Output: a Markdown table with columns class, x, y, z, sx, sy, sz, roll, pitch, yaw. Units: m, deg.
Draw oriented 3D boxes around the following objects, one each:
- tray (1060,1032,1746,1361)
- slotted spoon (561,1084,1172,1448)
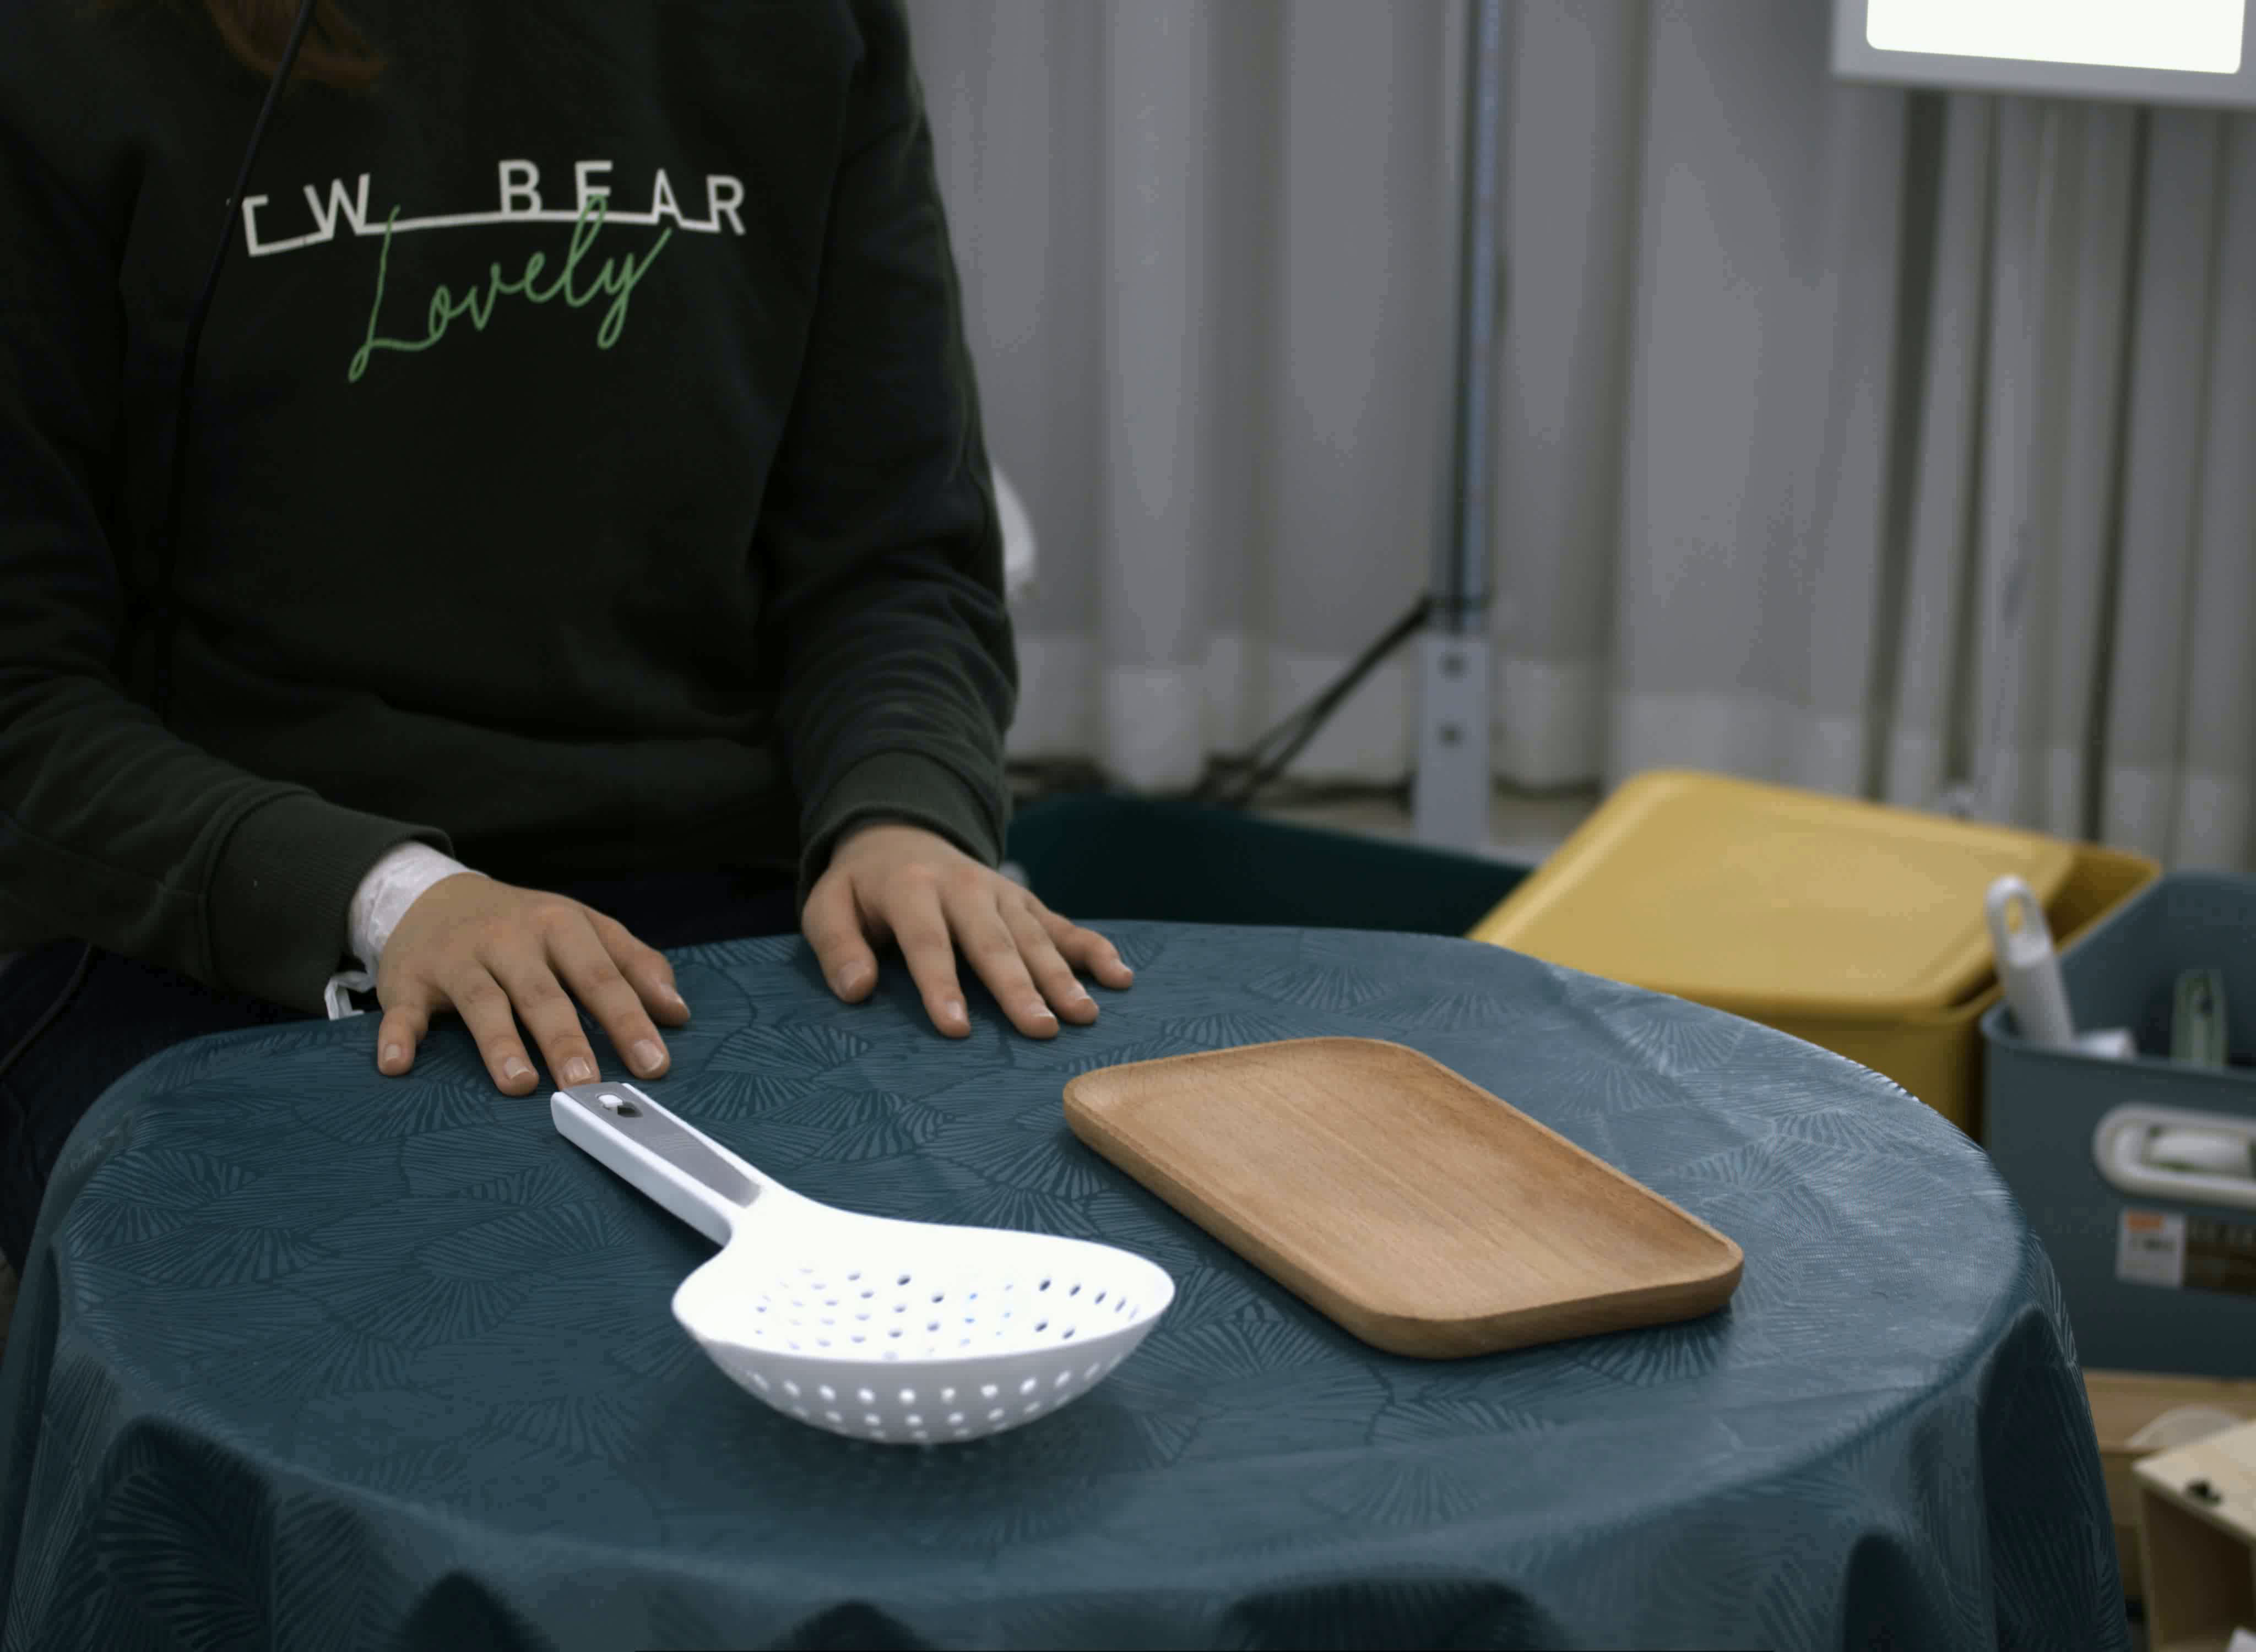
| class | x | y | z | sx | sy | sz | roll | pitch | yaw |
| --- | --- | --- | --- | --- | --- | --- | --- | --- | --- |
| tray | 0.079 | 0.110 | 1.608 | 0.131 | 0.023 | 0.247 | -5 | 16 | -25 |
| slotted spoon | -0.100 | 0.117 | 1.522 | 0.136 | 0.046 | 0.345 | -4 | 16 | -24 |
